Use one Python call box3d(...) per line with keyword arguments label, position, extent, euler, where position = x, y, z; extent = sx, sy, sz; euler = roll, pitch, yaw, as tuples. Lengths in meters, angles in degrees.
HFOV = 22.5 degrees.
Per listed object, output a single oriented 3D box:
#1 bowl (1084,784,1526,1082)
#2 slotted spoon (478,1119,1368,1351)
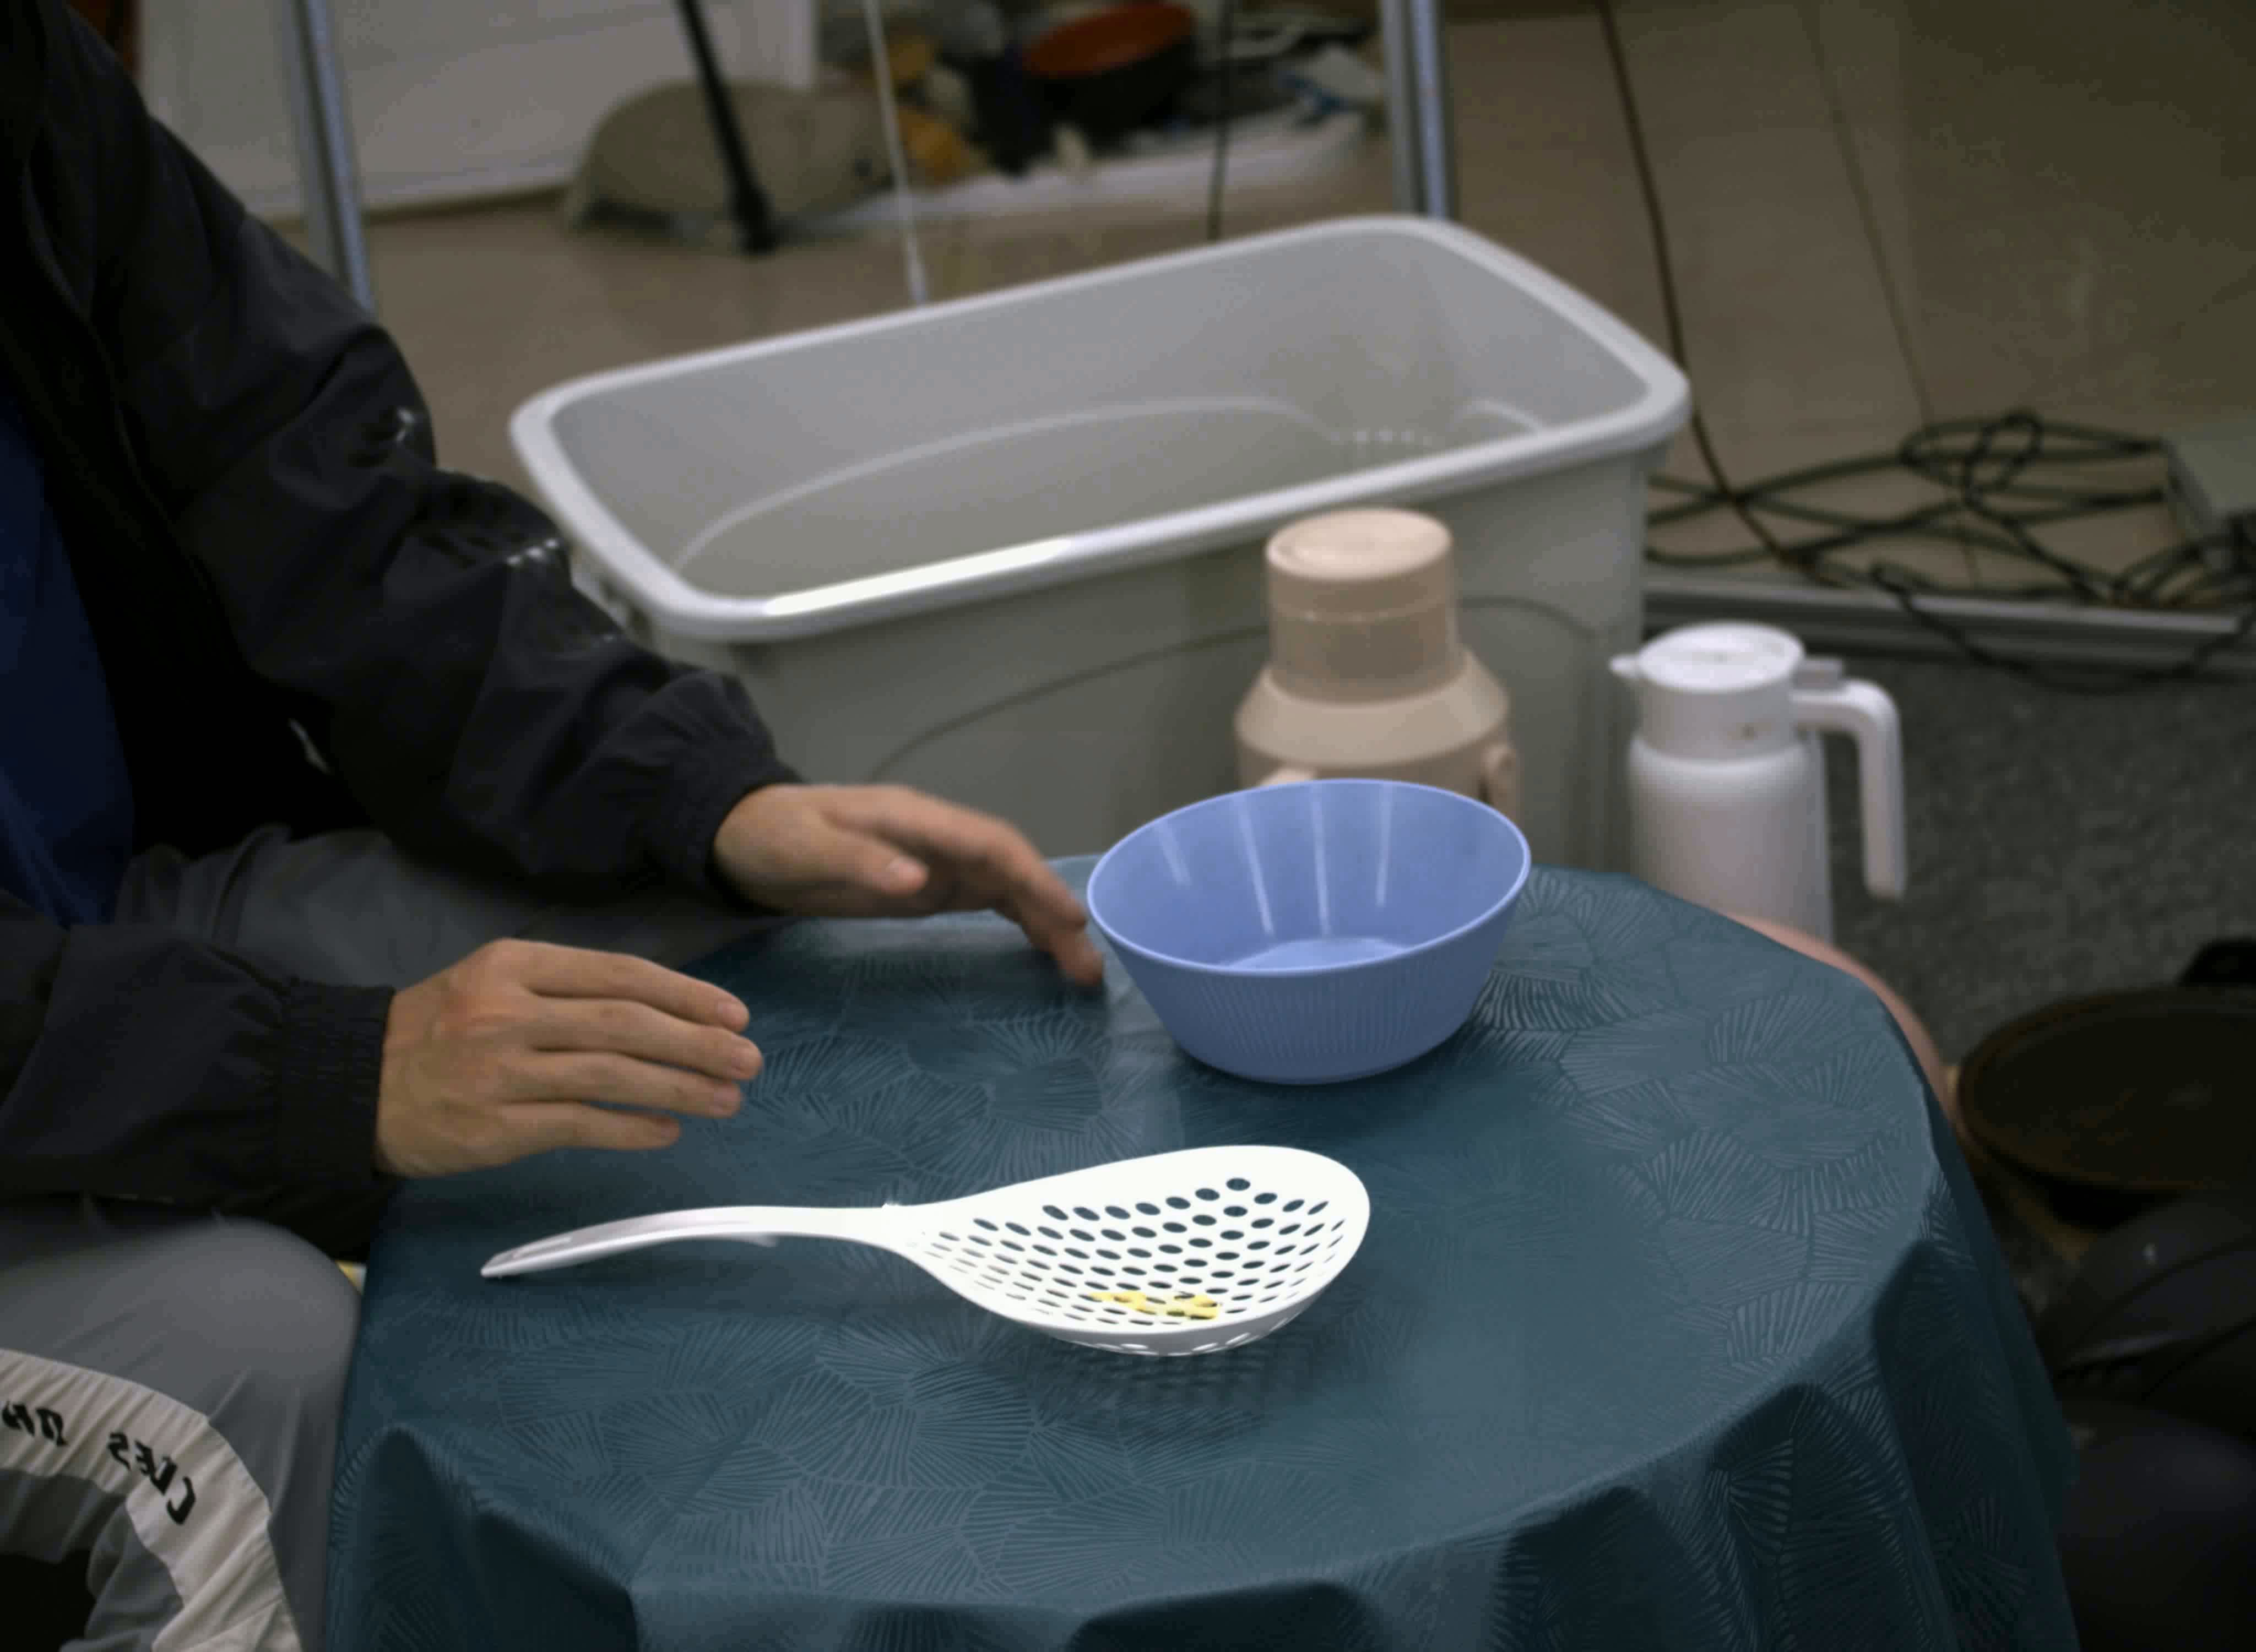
box3d(label="bowl", position=(0.072, 0.047, 2.242), extent=(0.176, 0.071, 0.173), euler=(-6, 24, 3))
box3d(label="slotted spoon", position=(-0.080, 0.157, 2.078), extent=(0.347, 0.051, 0.135), euler=(2, 30, 19))
